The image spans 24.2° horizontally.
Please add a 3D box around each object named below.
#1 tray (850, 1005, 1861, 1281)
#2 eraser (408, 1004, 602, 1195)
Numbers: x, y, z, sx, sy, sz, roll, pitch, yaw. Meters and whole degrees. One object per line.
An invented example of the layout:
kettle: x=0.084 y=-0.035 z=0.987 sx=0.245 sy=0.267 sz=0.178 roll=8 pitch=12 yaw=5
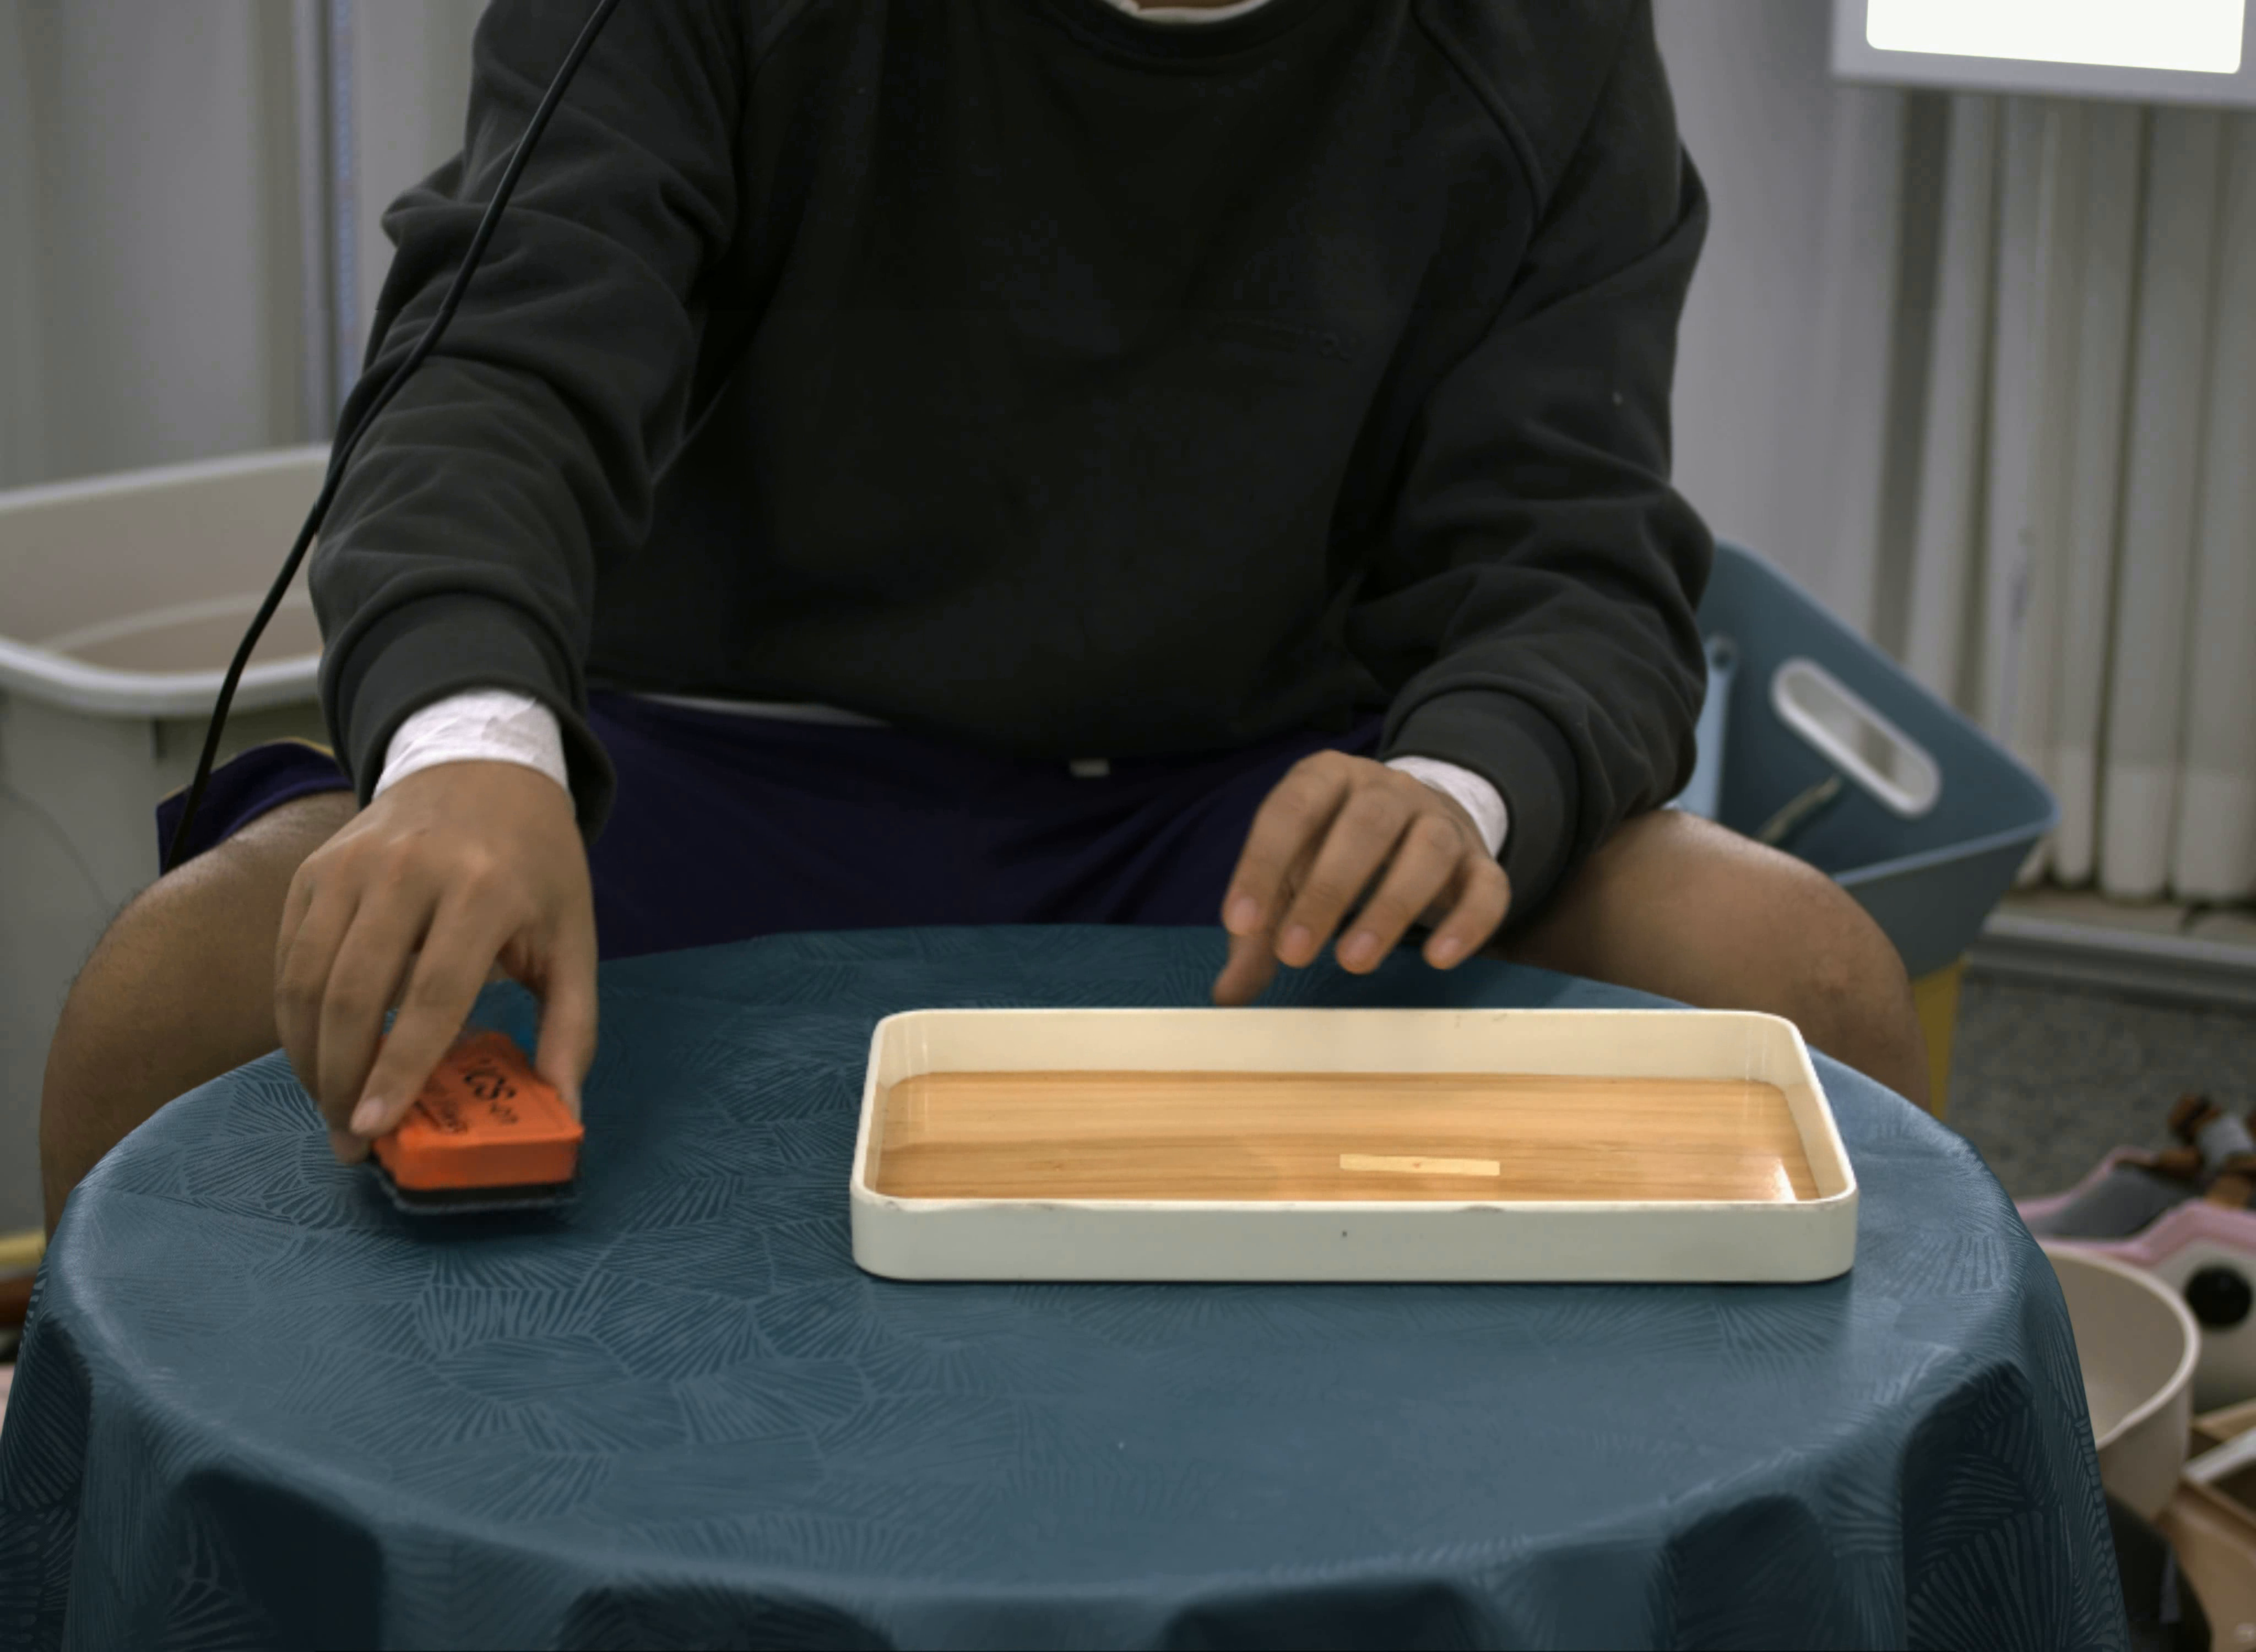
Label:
tray: x=0.067 y=0.097 z=1.630 sx=0.299 sy=0.027 sz=0.190 roll=1 pitch=16 yaw=-1
eraser: x=-0.191 y=0.083 z=1.613 sx=0.059 sy=0.023 sz=0.107 roll=0 pitch=19 yaw=-8
